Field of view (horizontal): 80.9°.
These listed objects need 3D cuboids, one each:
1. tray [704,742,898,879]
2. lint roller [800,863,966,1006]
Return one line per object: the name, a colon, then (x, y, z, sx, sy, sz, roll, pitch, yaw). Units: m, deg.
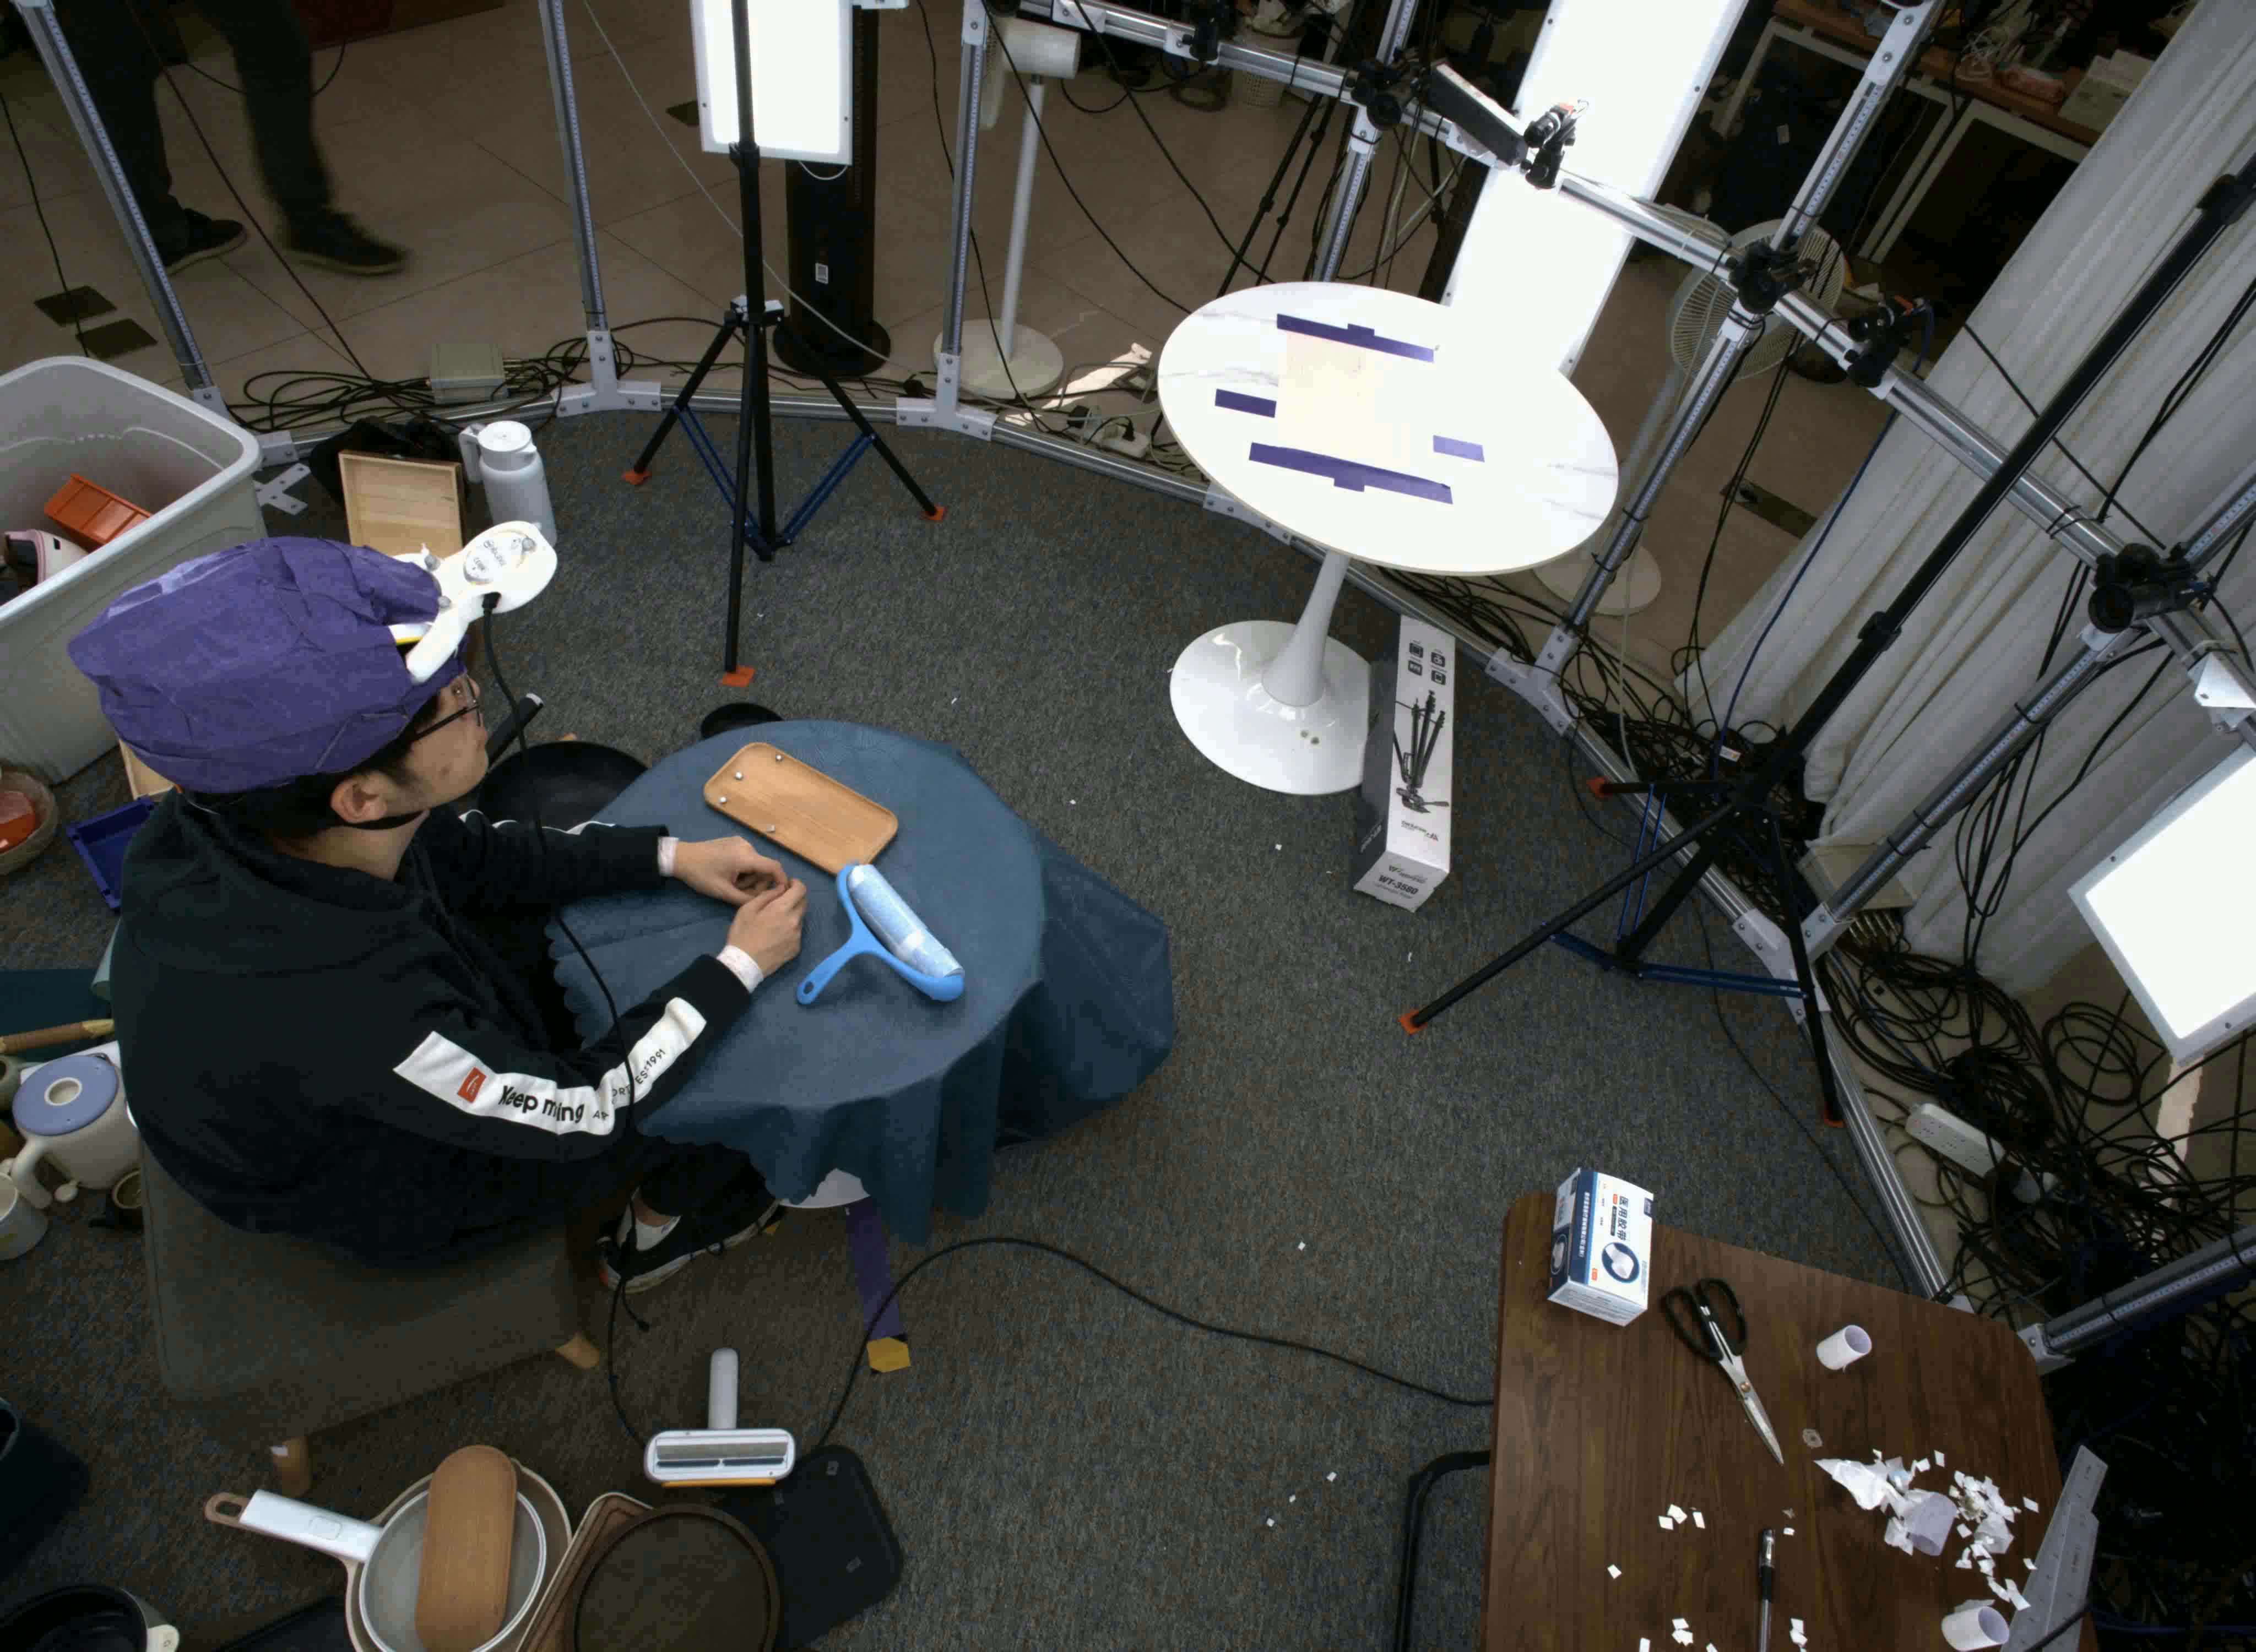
tray: (-0.437, -0.022, 1.731, 0.247, 0.023, 0.130, 29, 55, 7)
lint roller: (-0.325, 0.156, 1.605, 0.224, 0.069, 0.181, 44, 55, 16)
